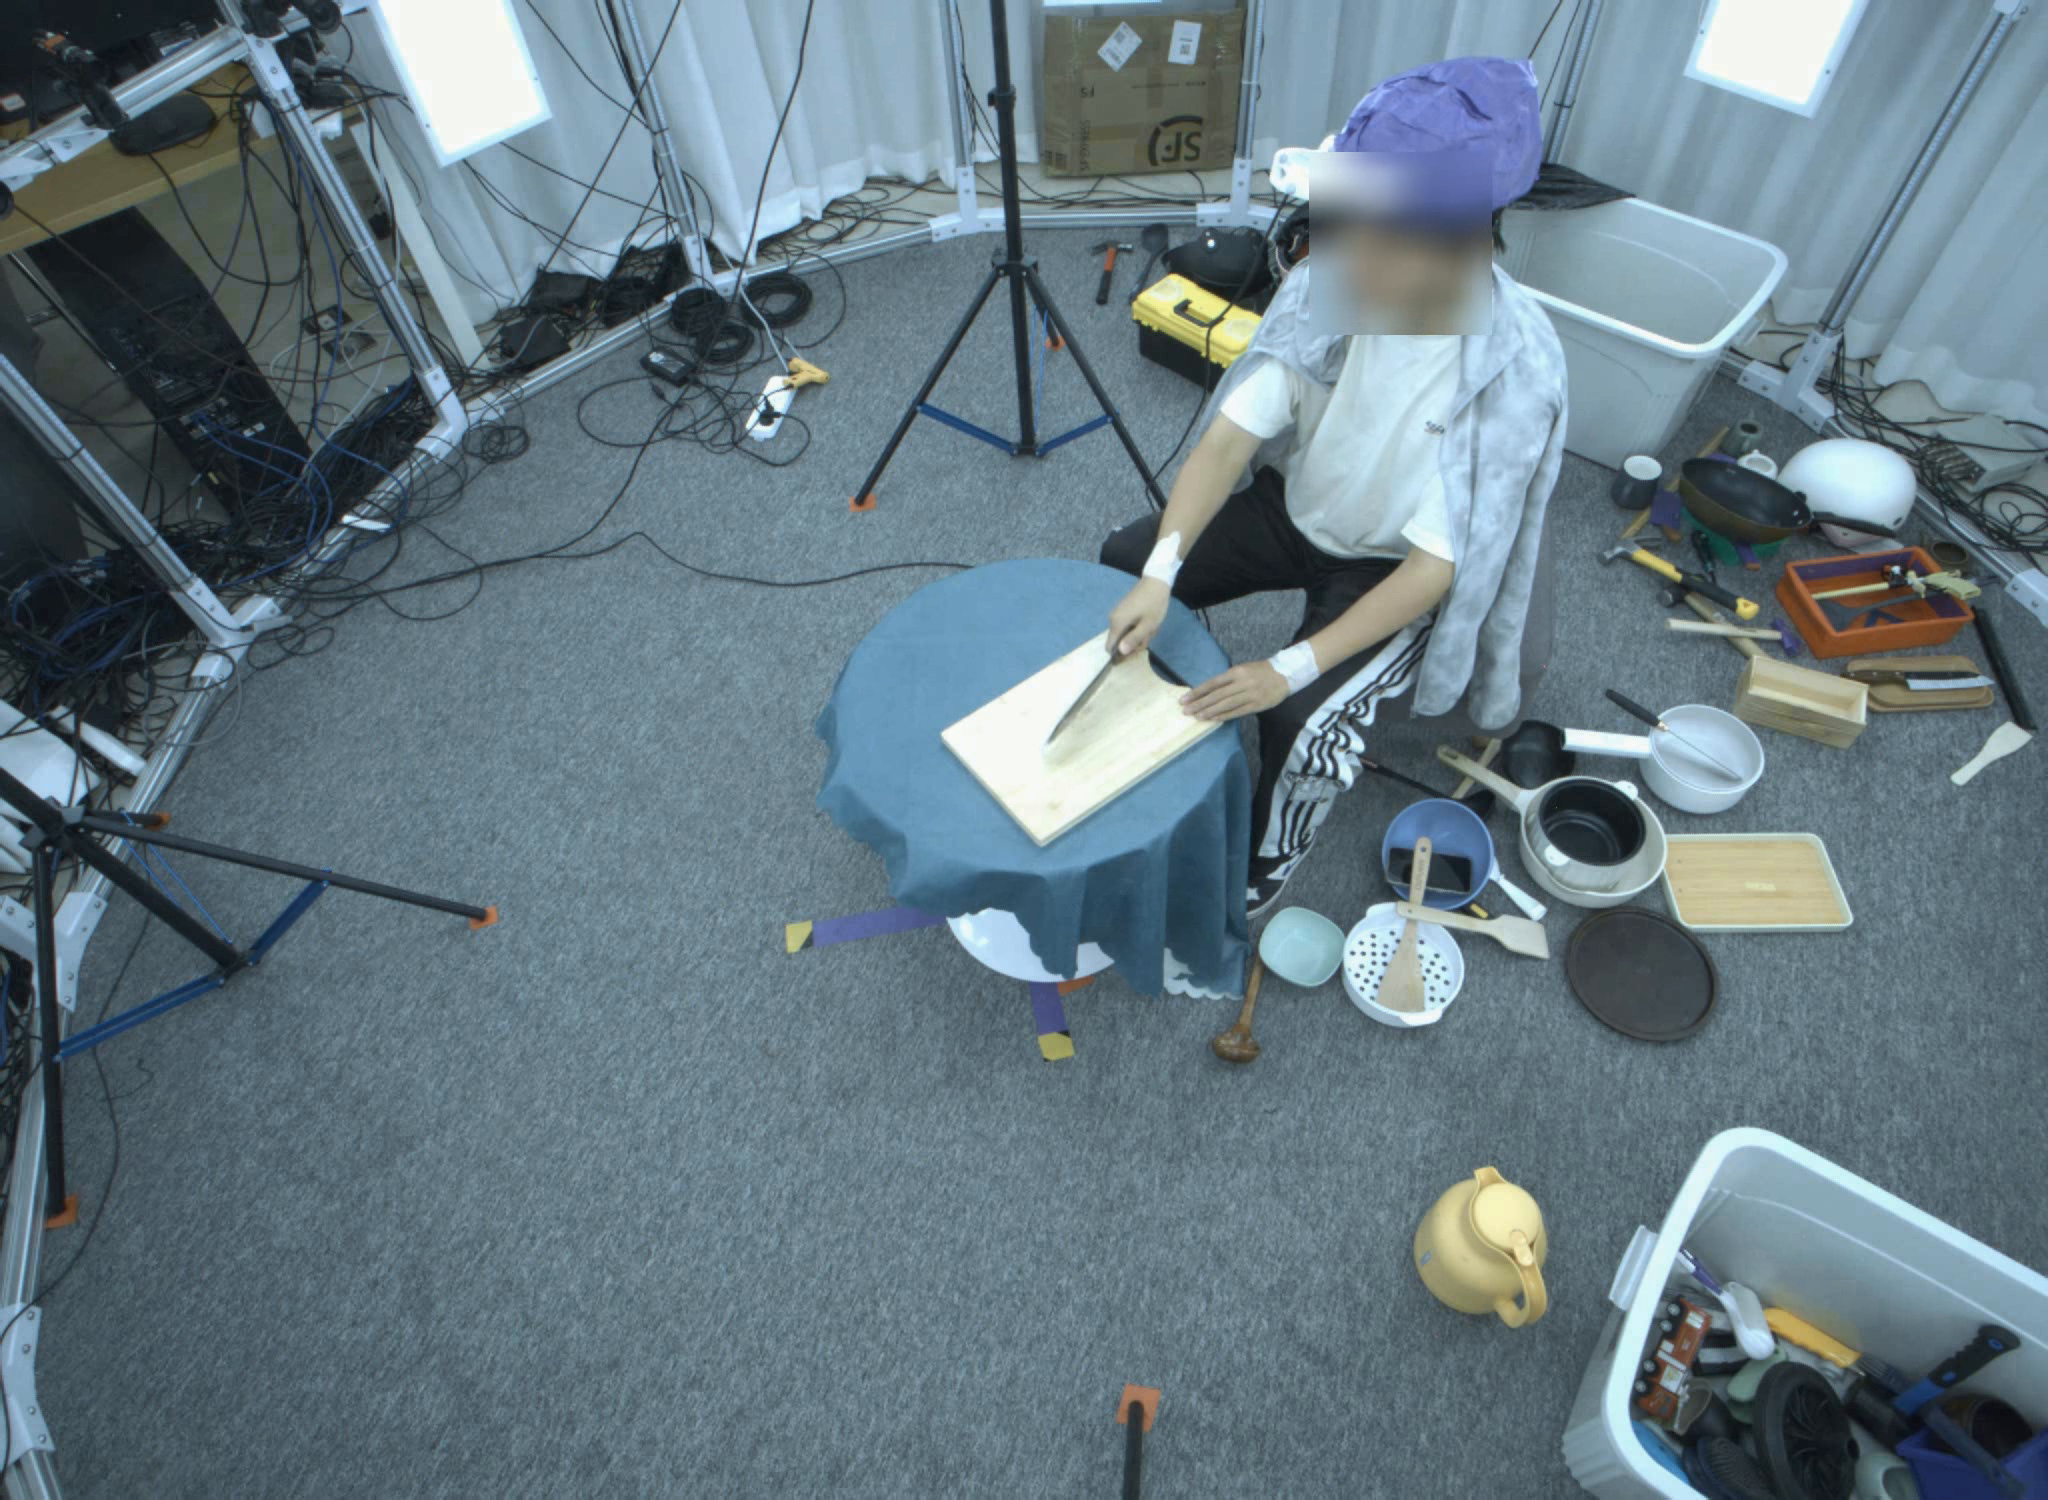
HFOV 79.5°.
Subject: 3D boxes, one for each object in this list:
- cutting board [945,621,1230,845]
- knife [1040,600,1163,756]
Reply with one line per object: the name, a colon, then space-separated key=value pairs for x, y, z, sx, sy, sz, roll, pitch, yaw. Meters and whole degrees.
cutting board: x=0.090 y=-0.035 z=1.801 sx=0.351 sy=0.024 sz=0.246 roll=-34 pitch=61 yaw=-20
knife: x=0.112 y=-0.106 z=1.793 sx=0.024 sy=0.068 sz=0.300 roll=35 pitch=66 yaw=10
